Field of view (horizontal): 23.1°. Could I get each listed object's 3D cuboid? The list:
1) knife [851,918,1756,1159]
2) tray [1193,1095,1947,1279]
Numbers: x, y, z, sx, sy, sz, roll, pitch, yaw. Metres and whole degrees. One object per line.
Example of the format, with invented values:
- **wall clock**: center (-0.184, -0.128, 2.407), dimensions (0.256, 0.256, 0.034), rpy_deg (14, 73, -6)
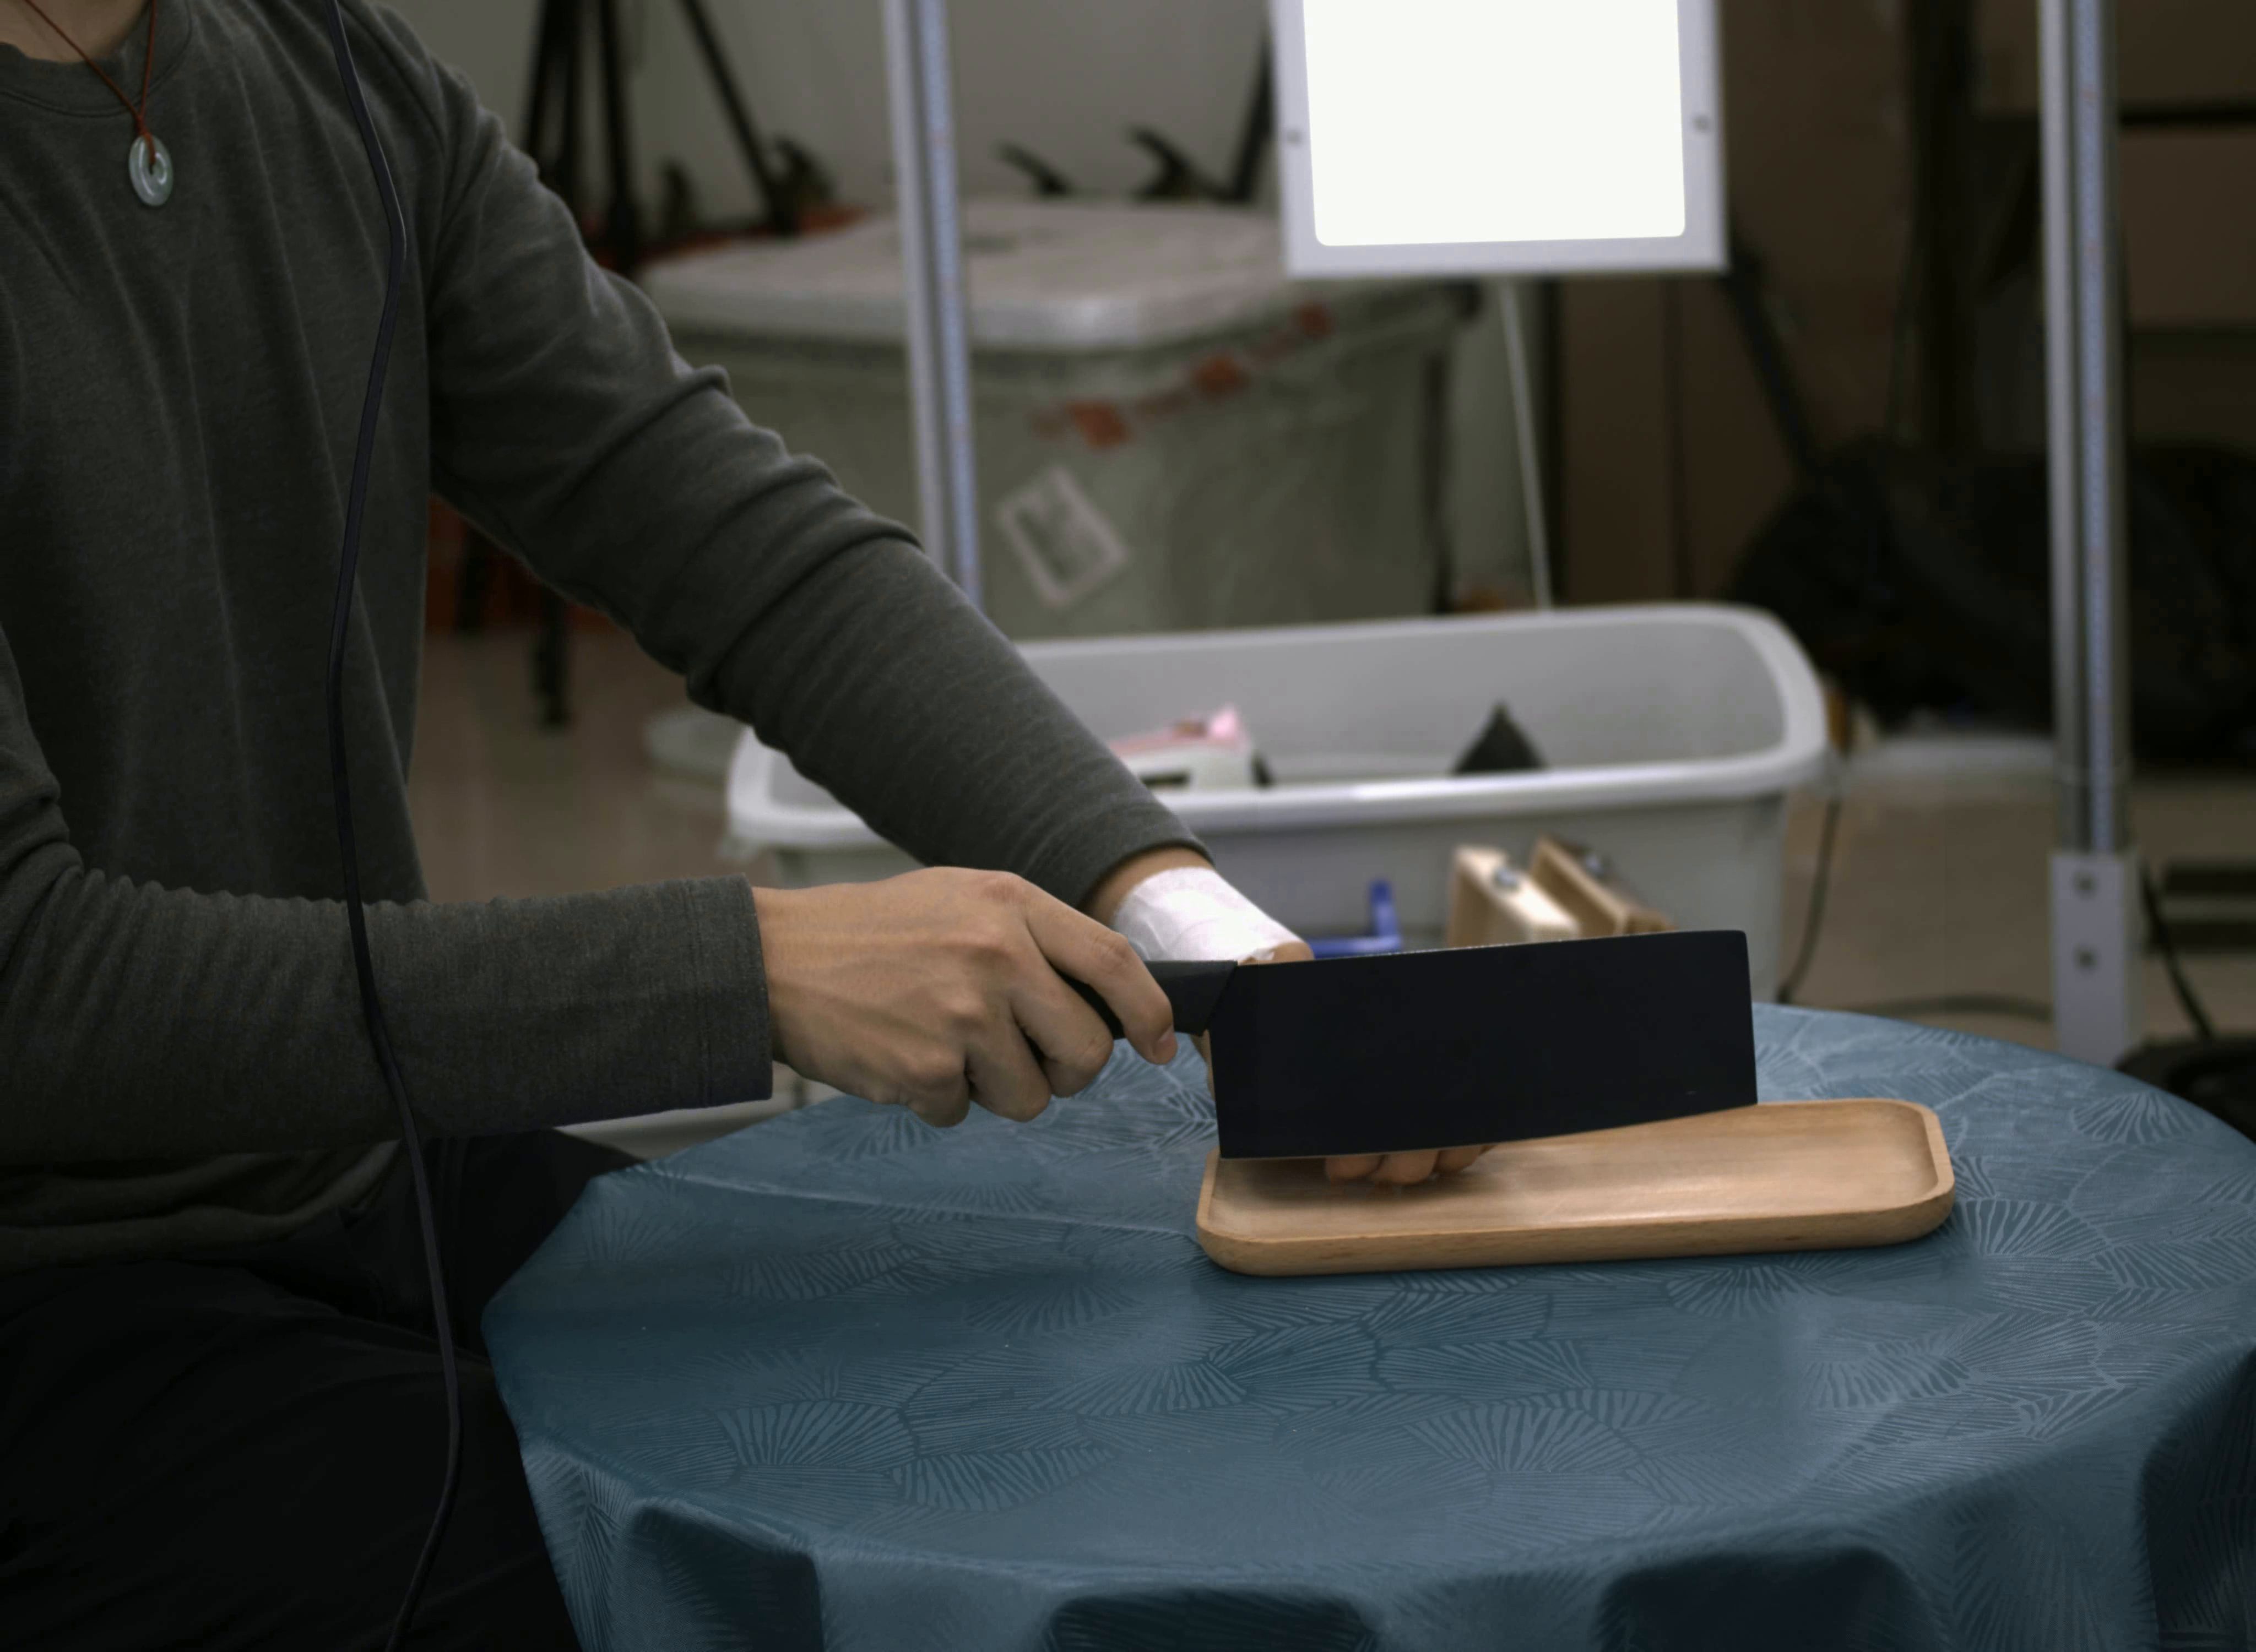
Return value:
- **knife**: center (0.058, 0.071, 1.827), dimensions (0.302, 0.081, 0.021), rpy_deg (-1, 4, 5)
- **tray**: center (0.149, 0.121, 1.840), dimensions (0.252, 0.023, 0.129), rpy_deg (-4, 11, 8)
